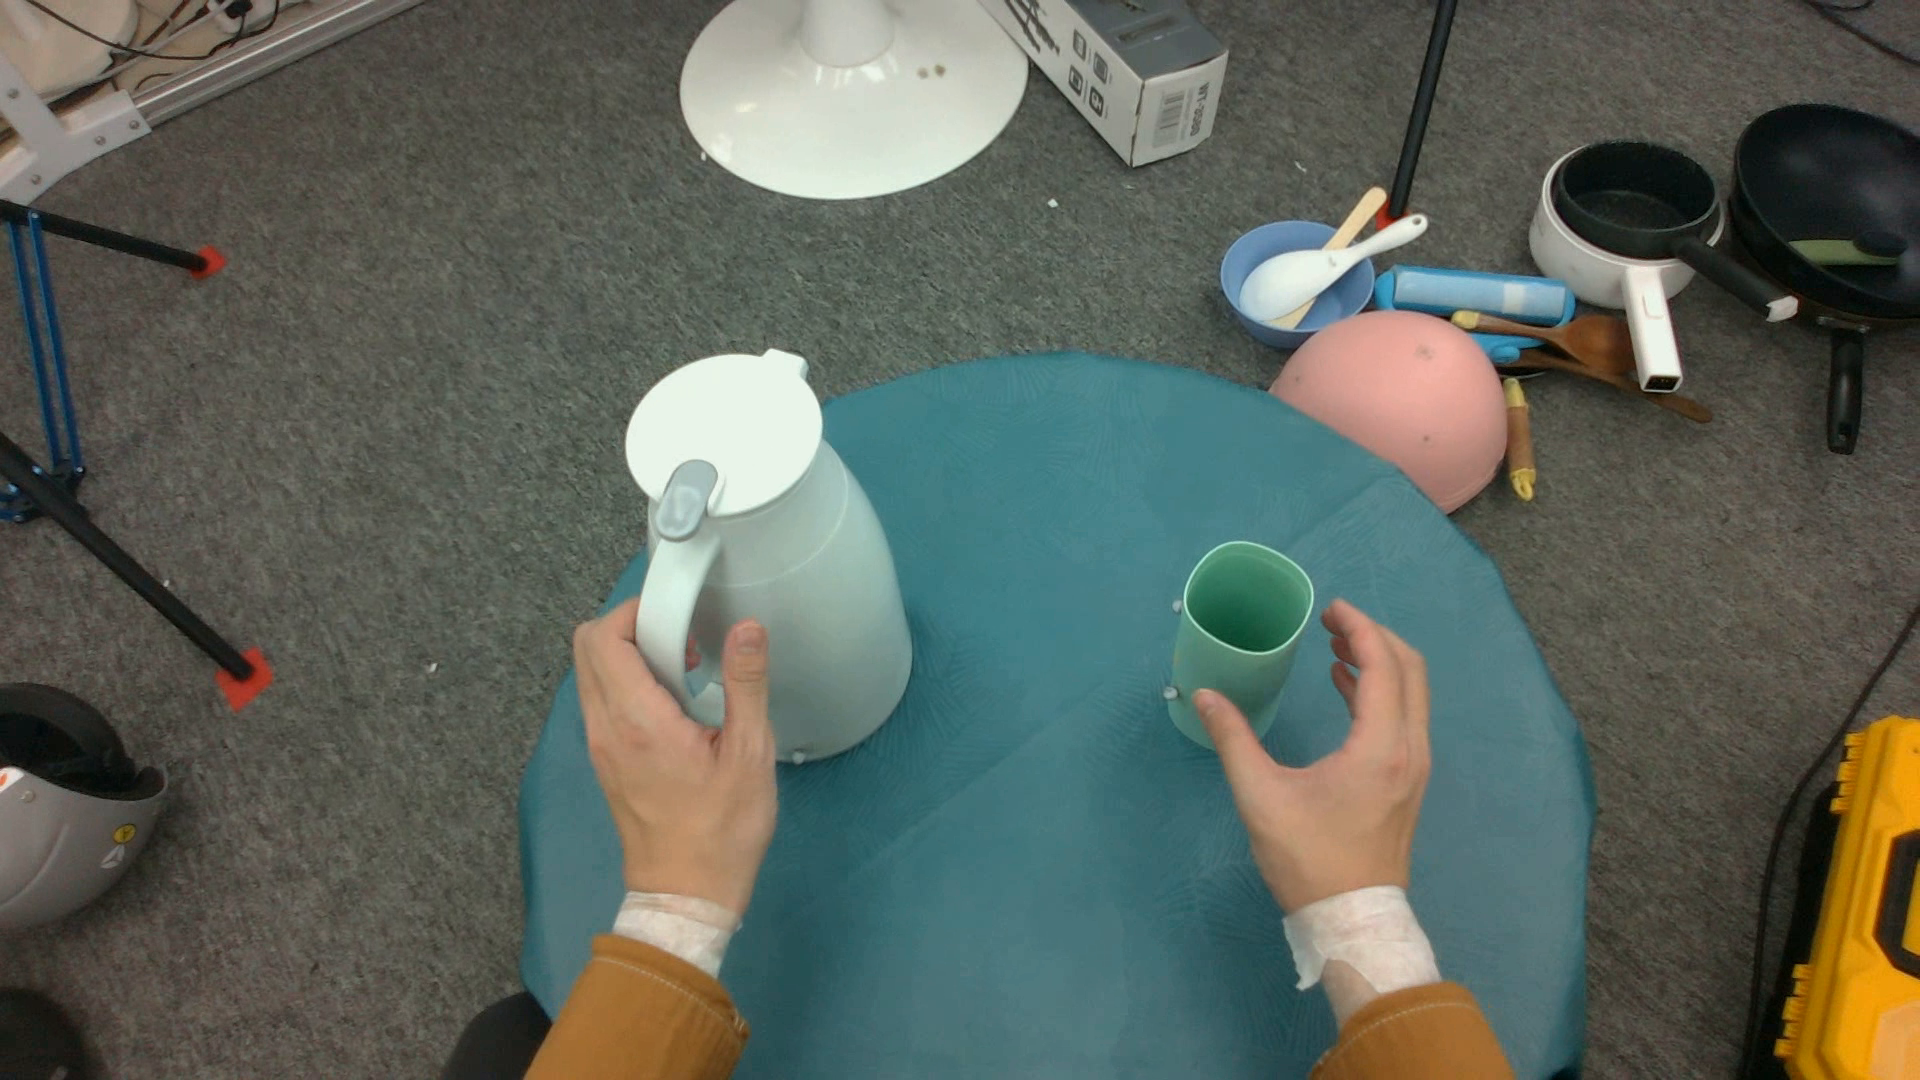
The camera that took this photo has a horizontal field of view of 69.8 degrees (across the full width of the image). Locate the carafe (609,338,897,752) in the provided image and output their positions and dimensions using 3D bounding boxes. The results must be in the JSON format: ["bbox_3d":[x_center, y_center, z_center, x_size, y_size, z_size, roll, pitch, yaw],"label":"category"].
[{"bbox_3d":[-0.116,0.021,0.725,0.132,0.247,0.168,16,62,12],"label":"carafe"}]

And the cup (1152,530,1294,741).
[{"bbox_3d":[0.143,0.057,0.761,0.067,0.132,0.067,-2,59,3],"label":"cup"}]
